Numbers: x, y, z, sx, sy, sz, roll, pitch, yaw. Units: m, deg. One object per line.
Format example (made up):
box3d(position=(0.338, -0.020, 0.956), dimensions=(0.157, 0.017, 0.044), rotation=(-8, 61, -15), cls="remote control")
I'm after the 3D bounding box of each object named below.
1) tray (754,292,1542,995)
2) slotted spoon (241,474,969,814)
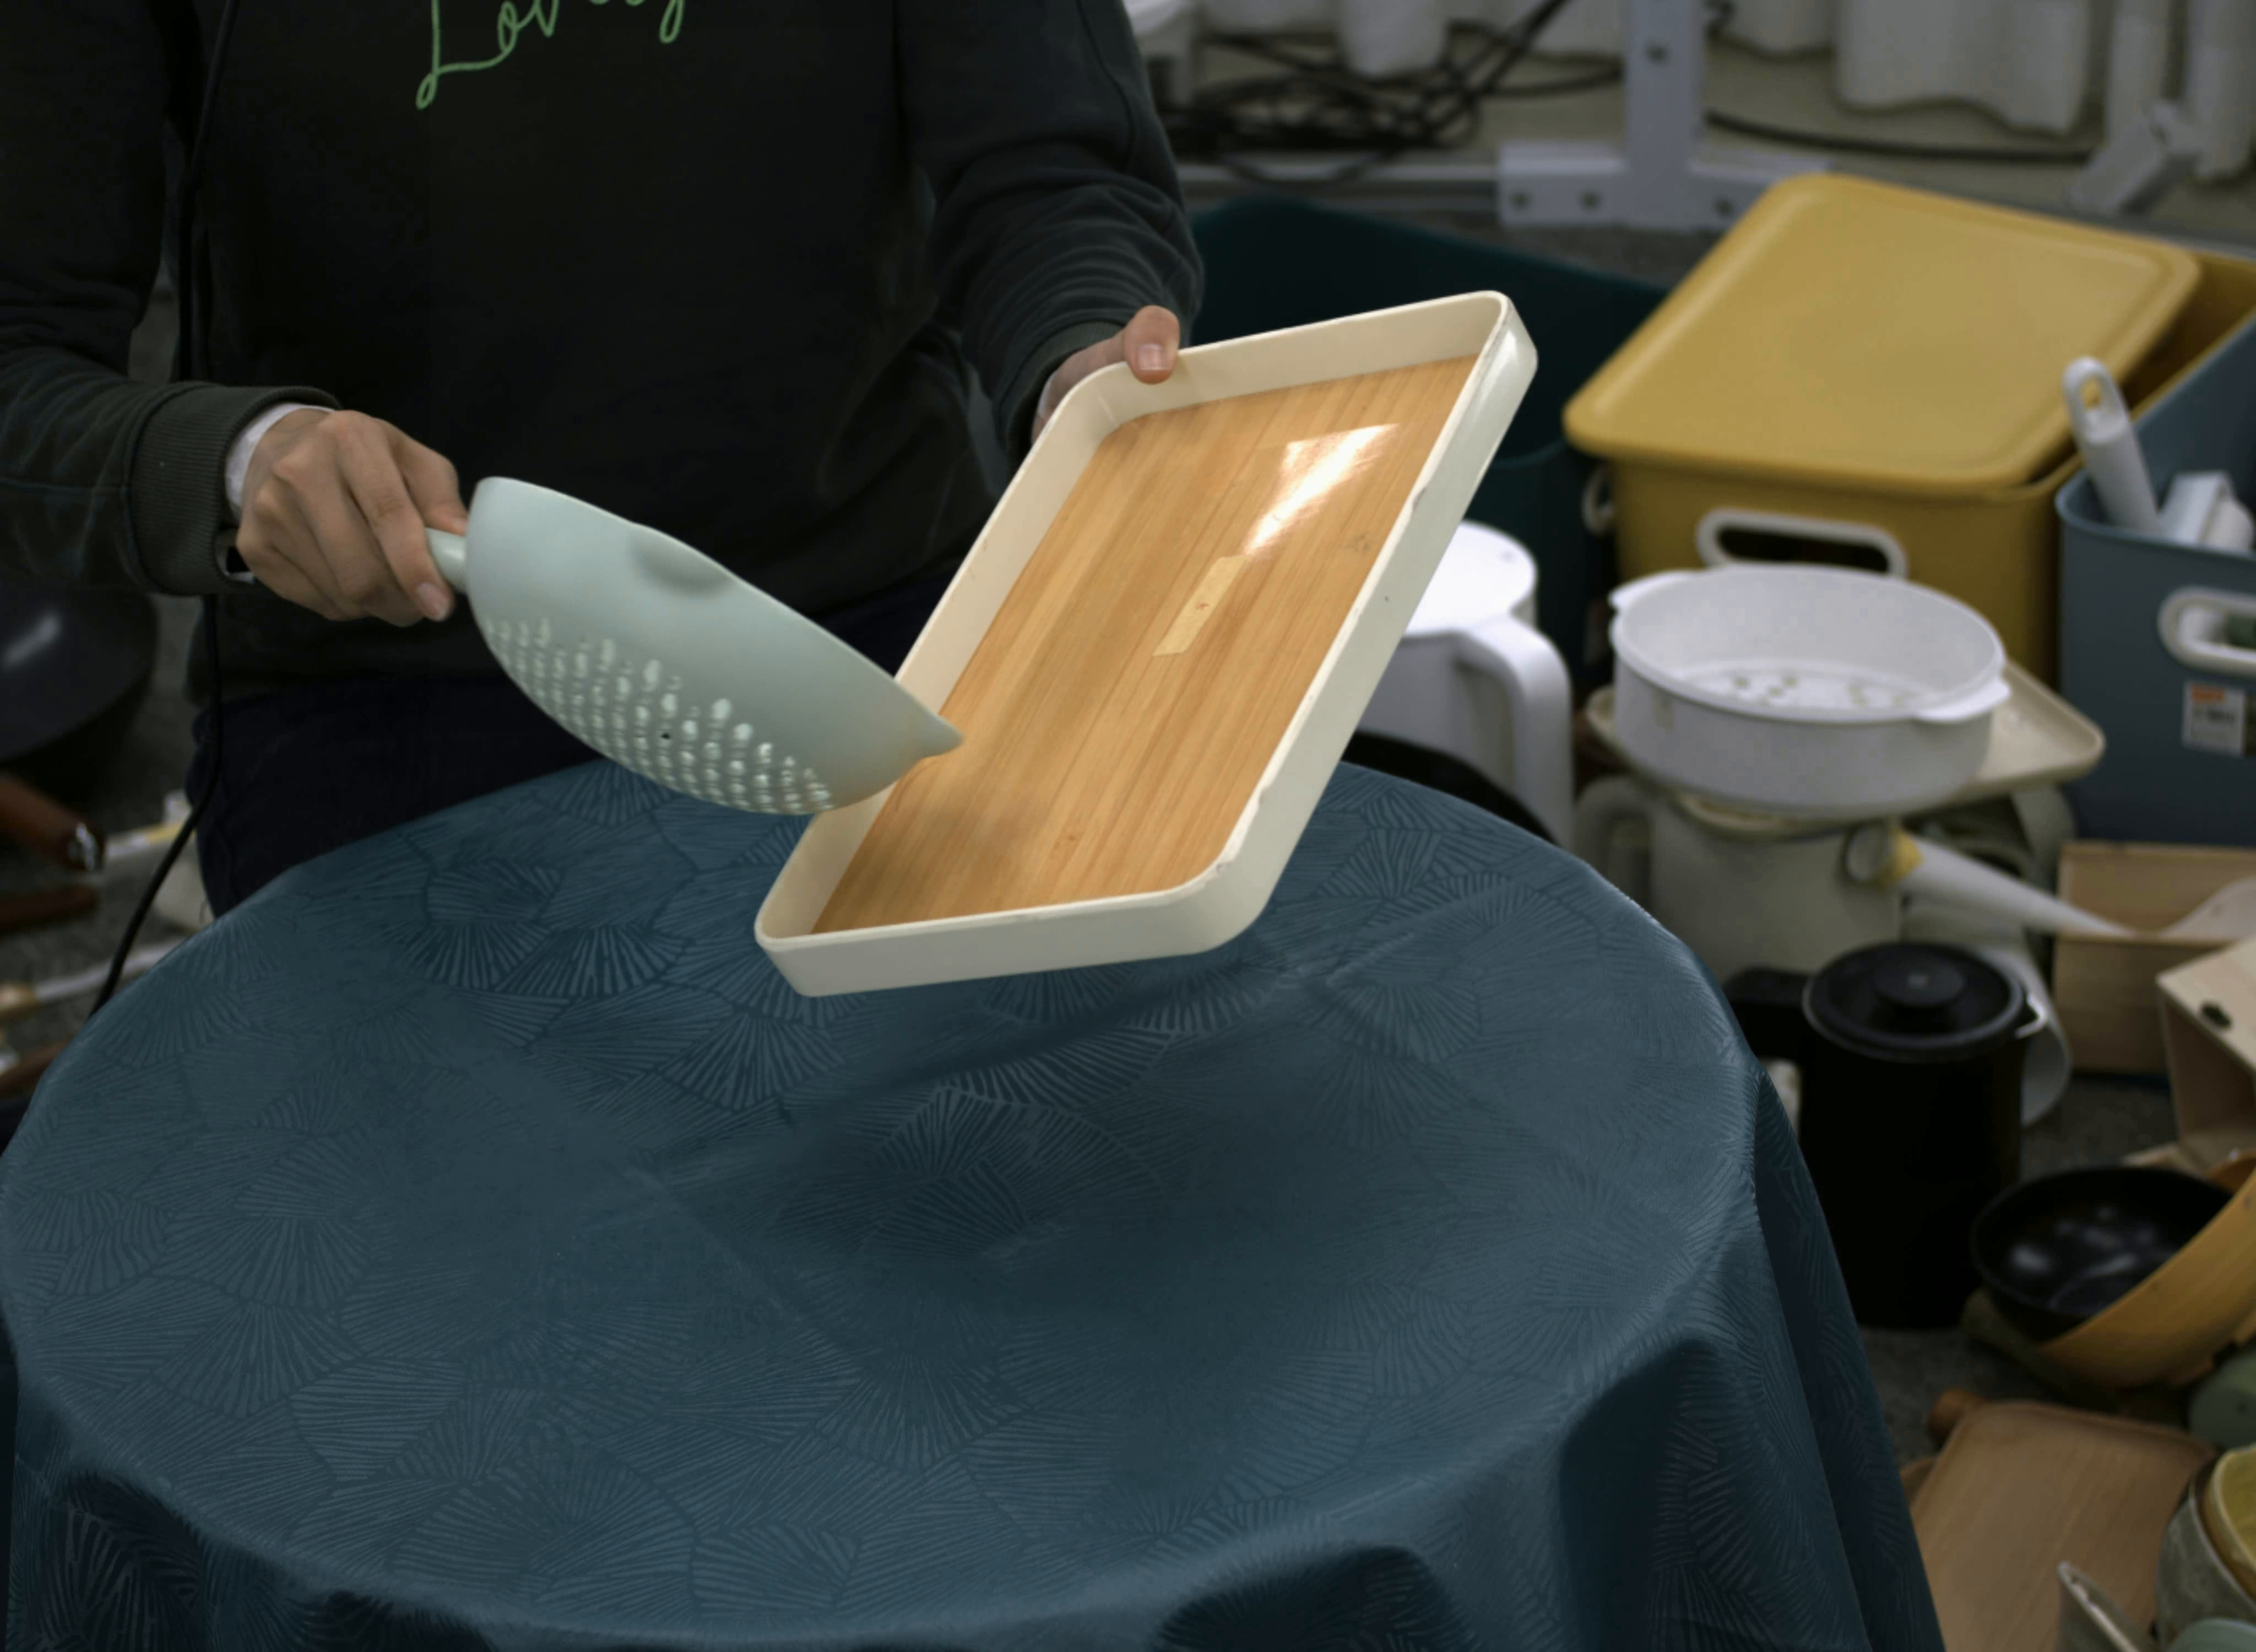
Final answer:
box3d(position=(0.010, -0.062, 1.861), dimensions=(0.189, 0.027, 0.306), rotation=(-8, 37, 35), cls="tray")
box3d(position=(-0.200, -0.071, 1.883), dimensions=(0.358, 0.168, 0.076), rotation=(24, 79, 53), cls="slotted spoon")
